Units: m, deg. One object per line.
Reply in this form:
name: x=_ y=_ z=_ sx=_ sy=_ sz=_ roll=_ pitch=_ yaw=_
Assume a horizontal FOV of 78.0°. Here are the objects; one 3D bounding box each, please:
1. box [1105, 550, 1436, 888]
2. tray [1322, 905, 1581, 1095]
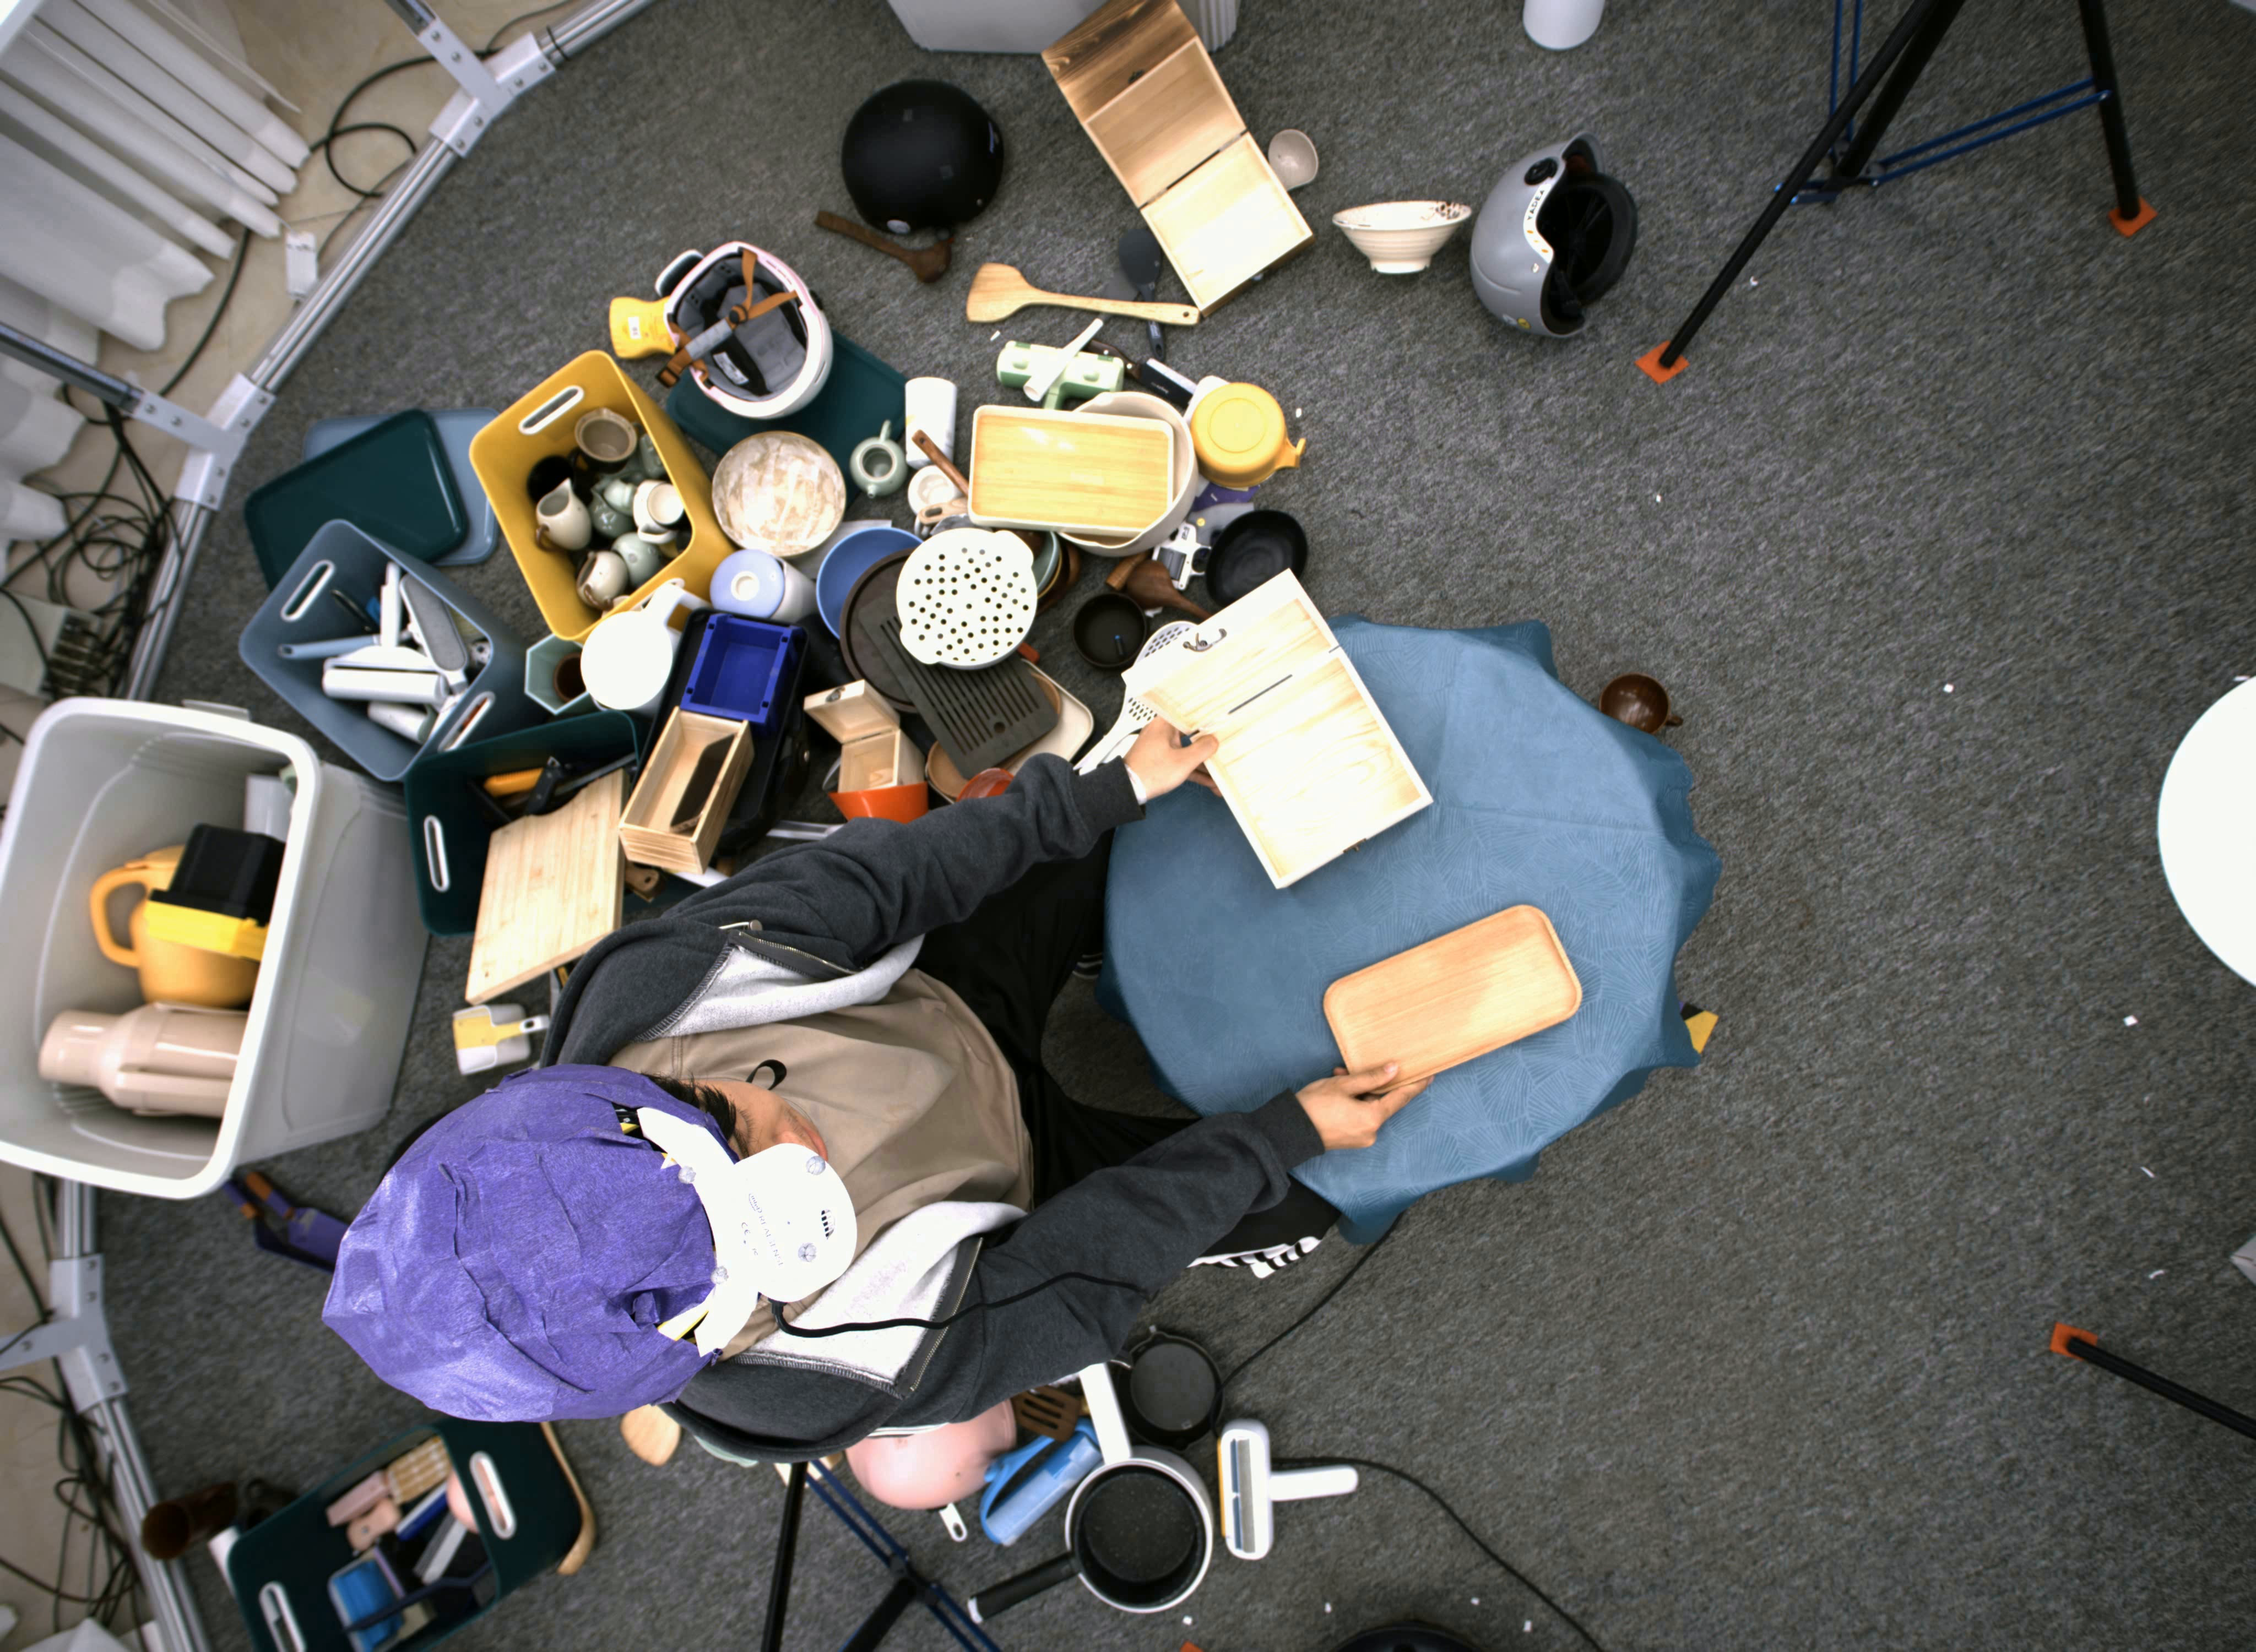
box: x=0.151 y=-0.090 z=1.353 sx=0.184 sy=0.252 sz=0.263 roll=-32 pitch=82 yaw=15
tray: x=0.332 y=0.178 z=1.424 sx=0.252 sy=0.023 sz=0.128 roll=-23 pitch=71 yaw=9
